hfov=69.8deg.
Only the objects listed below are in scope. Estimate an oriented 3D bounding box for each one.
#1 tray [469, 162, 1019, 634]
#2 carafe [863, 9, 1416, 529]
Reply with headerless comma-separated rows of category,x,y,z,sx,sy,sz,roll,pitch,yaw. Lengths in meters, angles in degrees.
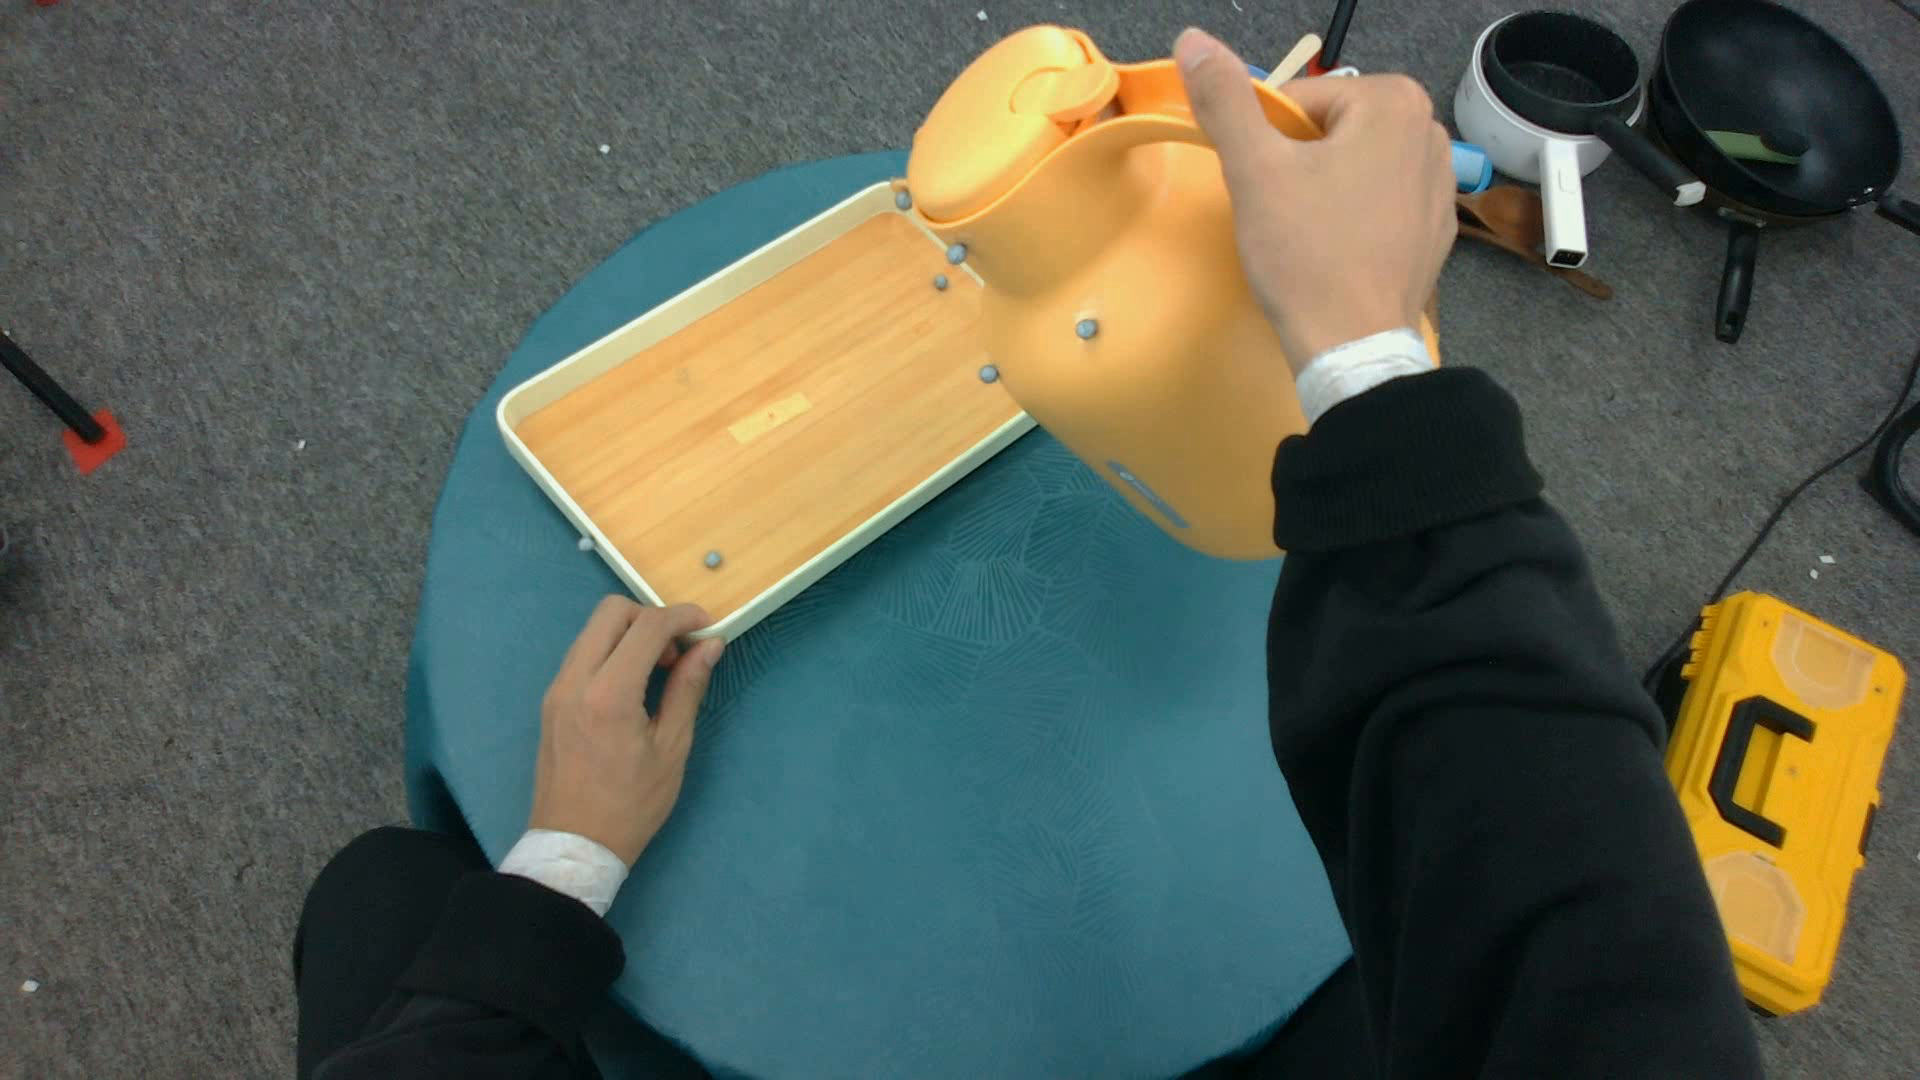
tray,-0.104,-0.095,0.795,0.301,0.027,0.192,-37,71,-25
carafe,0.092,-0.121,0.609,0.260,0.202,0.164,32,75,-35
